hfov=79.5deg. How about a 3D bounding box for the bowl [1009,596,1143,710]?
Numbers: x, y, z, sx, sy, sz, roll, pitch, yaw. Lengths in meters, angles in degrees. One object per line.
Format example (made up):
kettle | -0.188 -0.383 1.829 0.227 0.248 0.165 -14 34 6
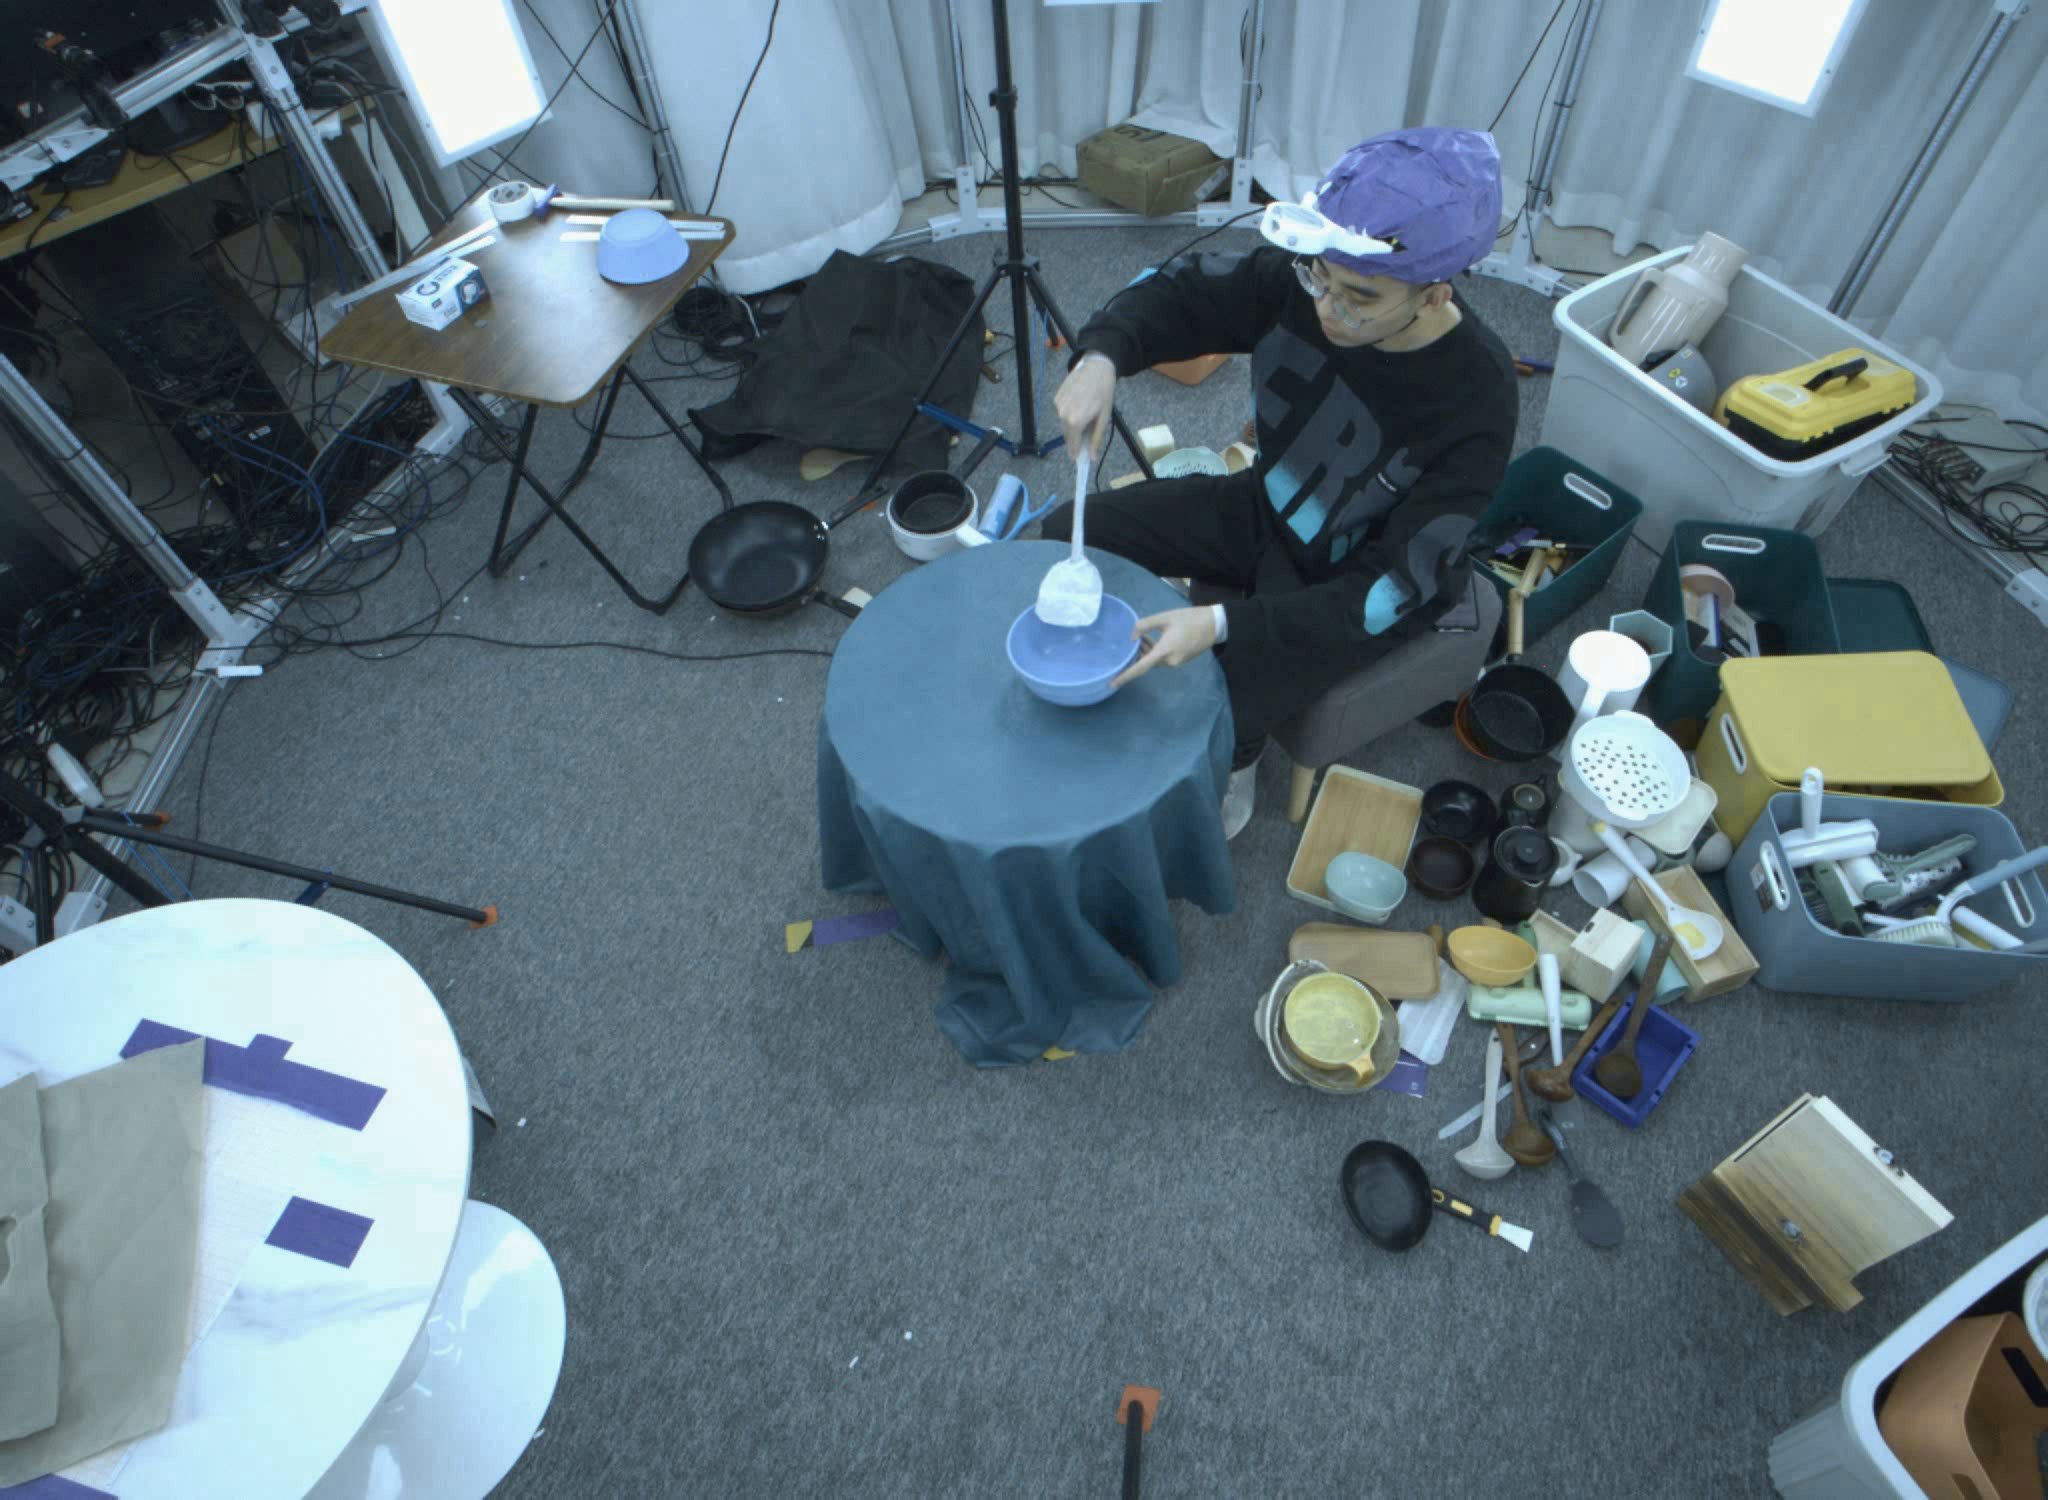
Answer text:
bowl | 0.082 -0.129 1.814 0.195 0.097 0.194 -5 50 7

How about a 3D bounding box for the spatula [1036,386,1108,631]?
spatula | 0.083 -0.355 1.774 0.097 0.366 0.045 10 13 20
